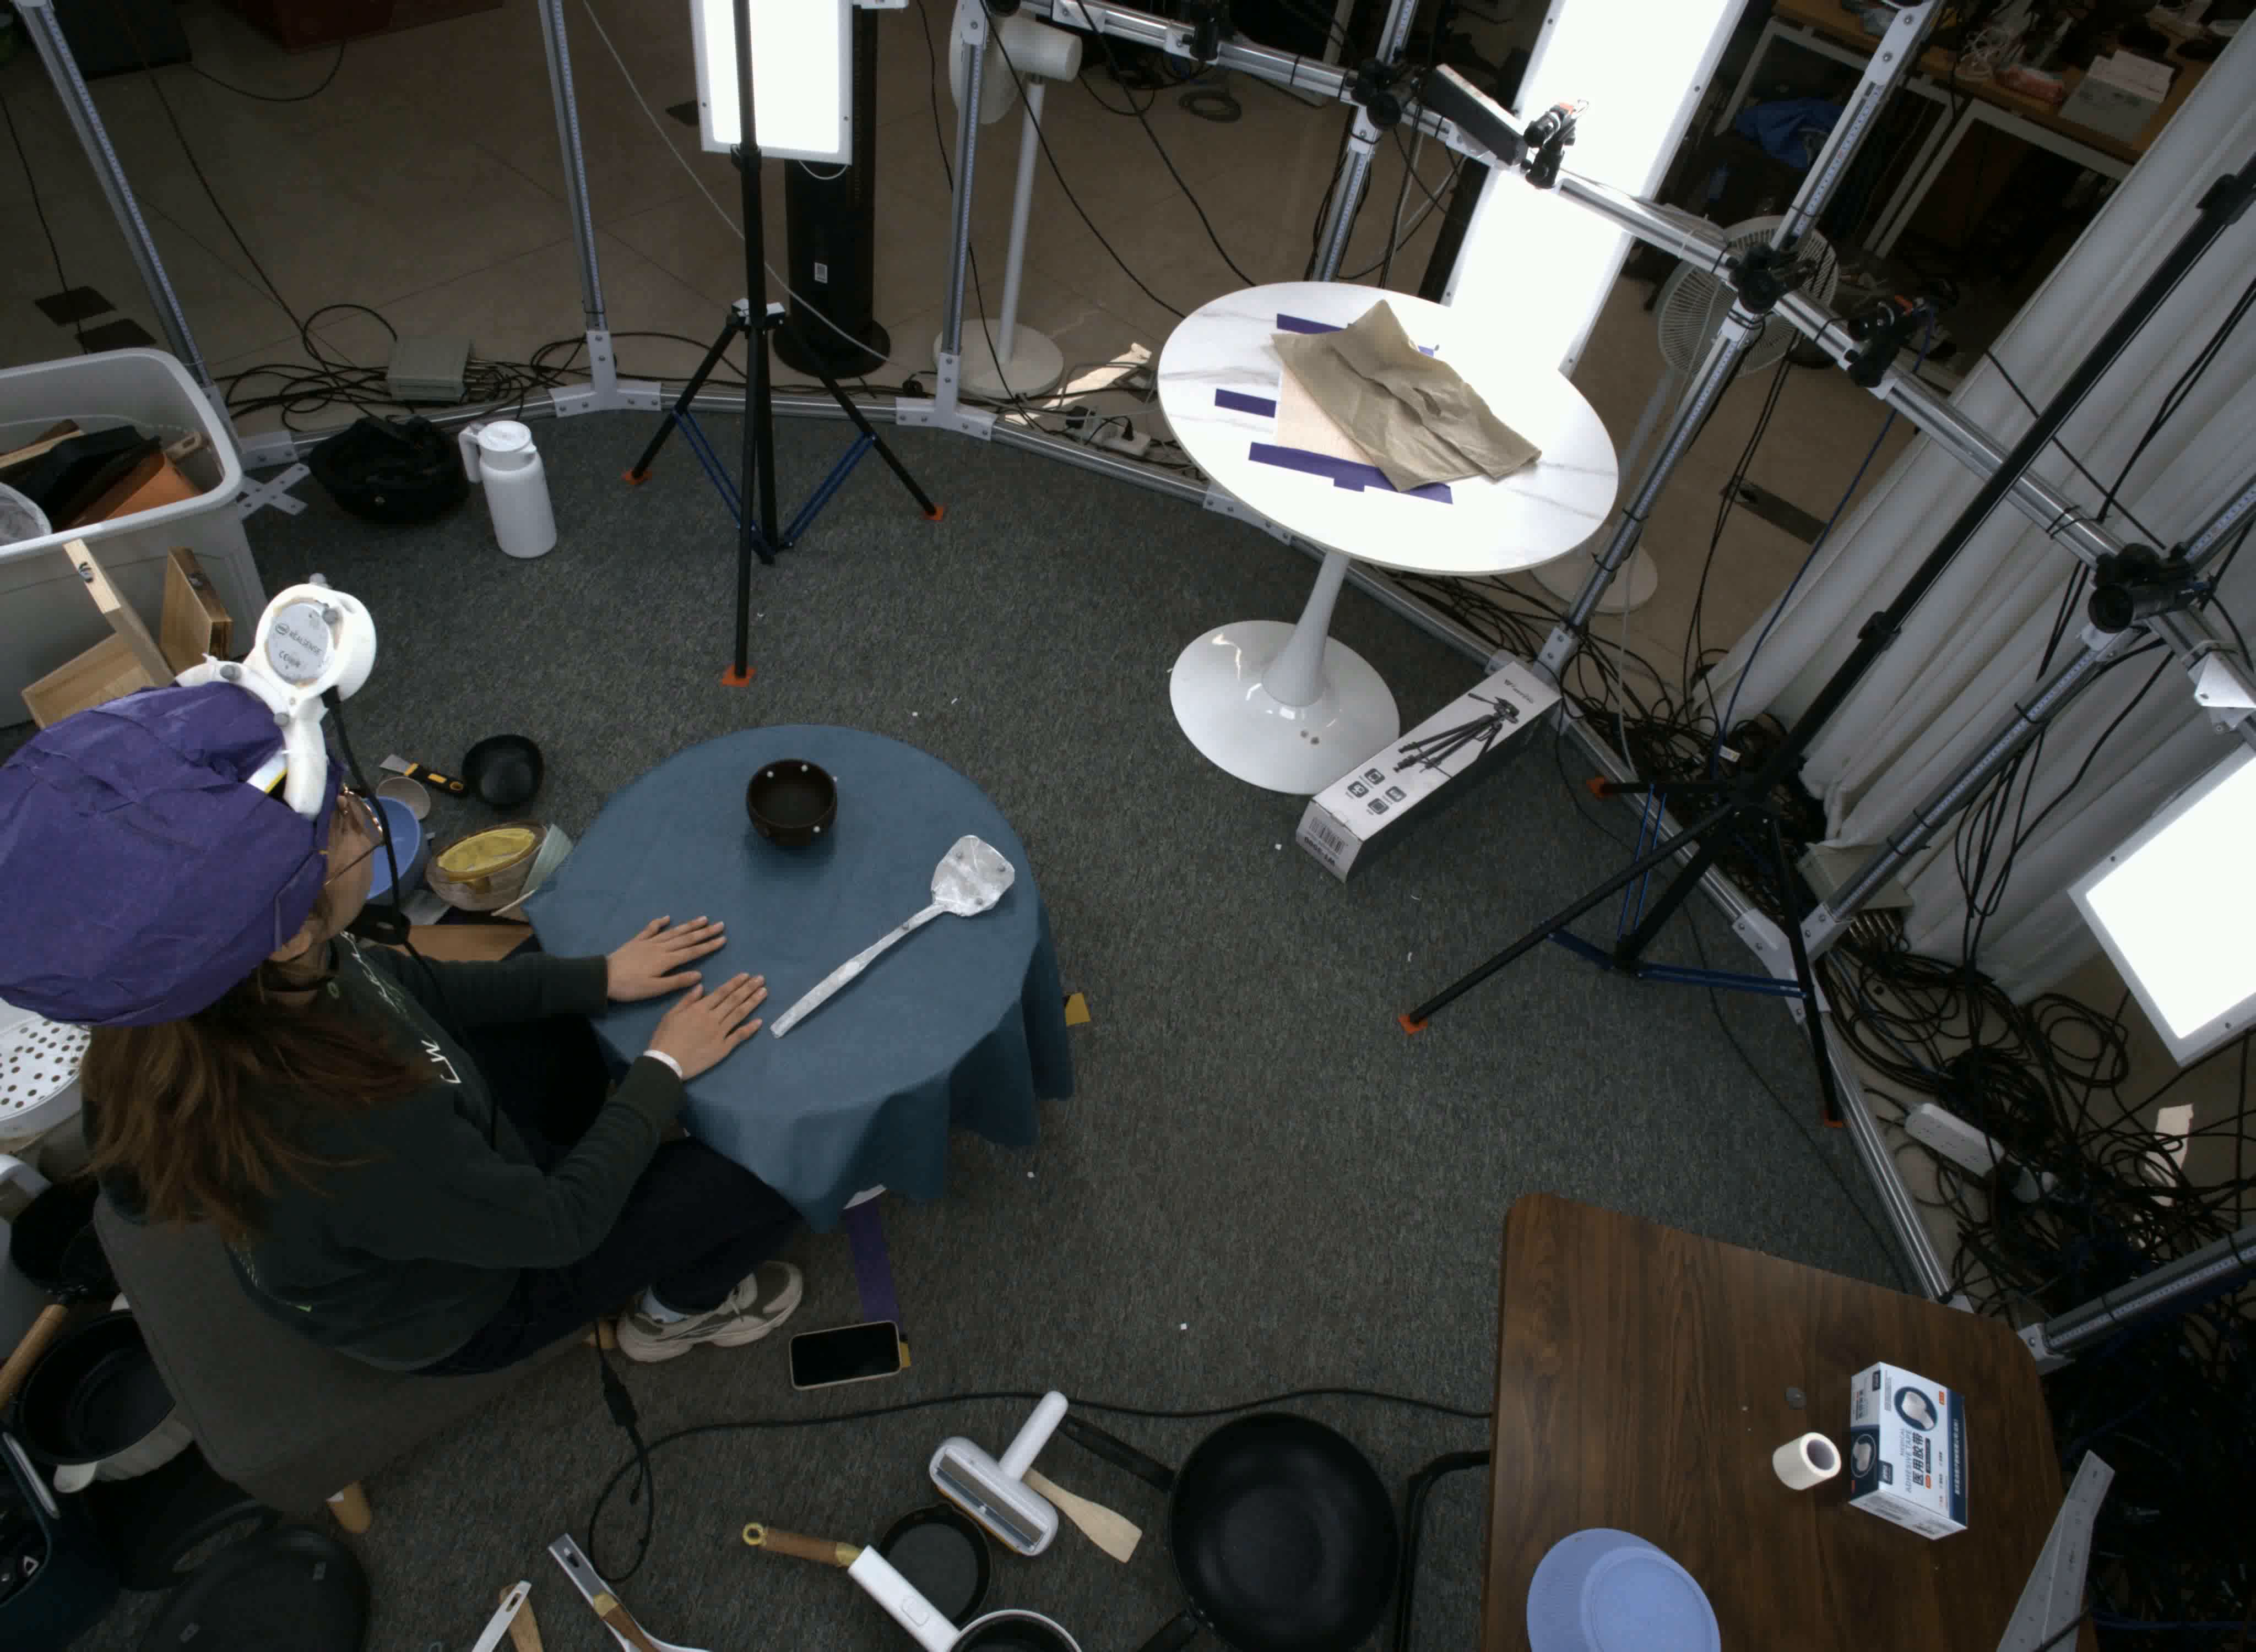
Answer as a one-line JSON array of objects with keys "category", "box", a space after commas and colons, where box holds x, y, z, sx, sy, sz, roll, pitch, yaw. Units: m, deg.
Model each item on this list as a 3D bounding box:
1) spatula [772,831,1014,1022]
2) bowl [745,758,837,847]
[{"category": "spatula", "box": [-0.297, 0.132, 1.638, 0.097, 0.045, 0.365, 42, 55, 15]}, {"category": "bowl", "box": [-0.440, -0.024, 1.697, 0.117, 0.071, 0.116, 6, 53, -6]}]
